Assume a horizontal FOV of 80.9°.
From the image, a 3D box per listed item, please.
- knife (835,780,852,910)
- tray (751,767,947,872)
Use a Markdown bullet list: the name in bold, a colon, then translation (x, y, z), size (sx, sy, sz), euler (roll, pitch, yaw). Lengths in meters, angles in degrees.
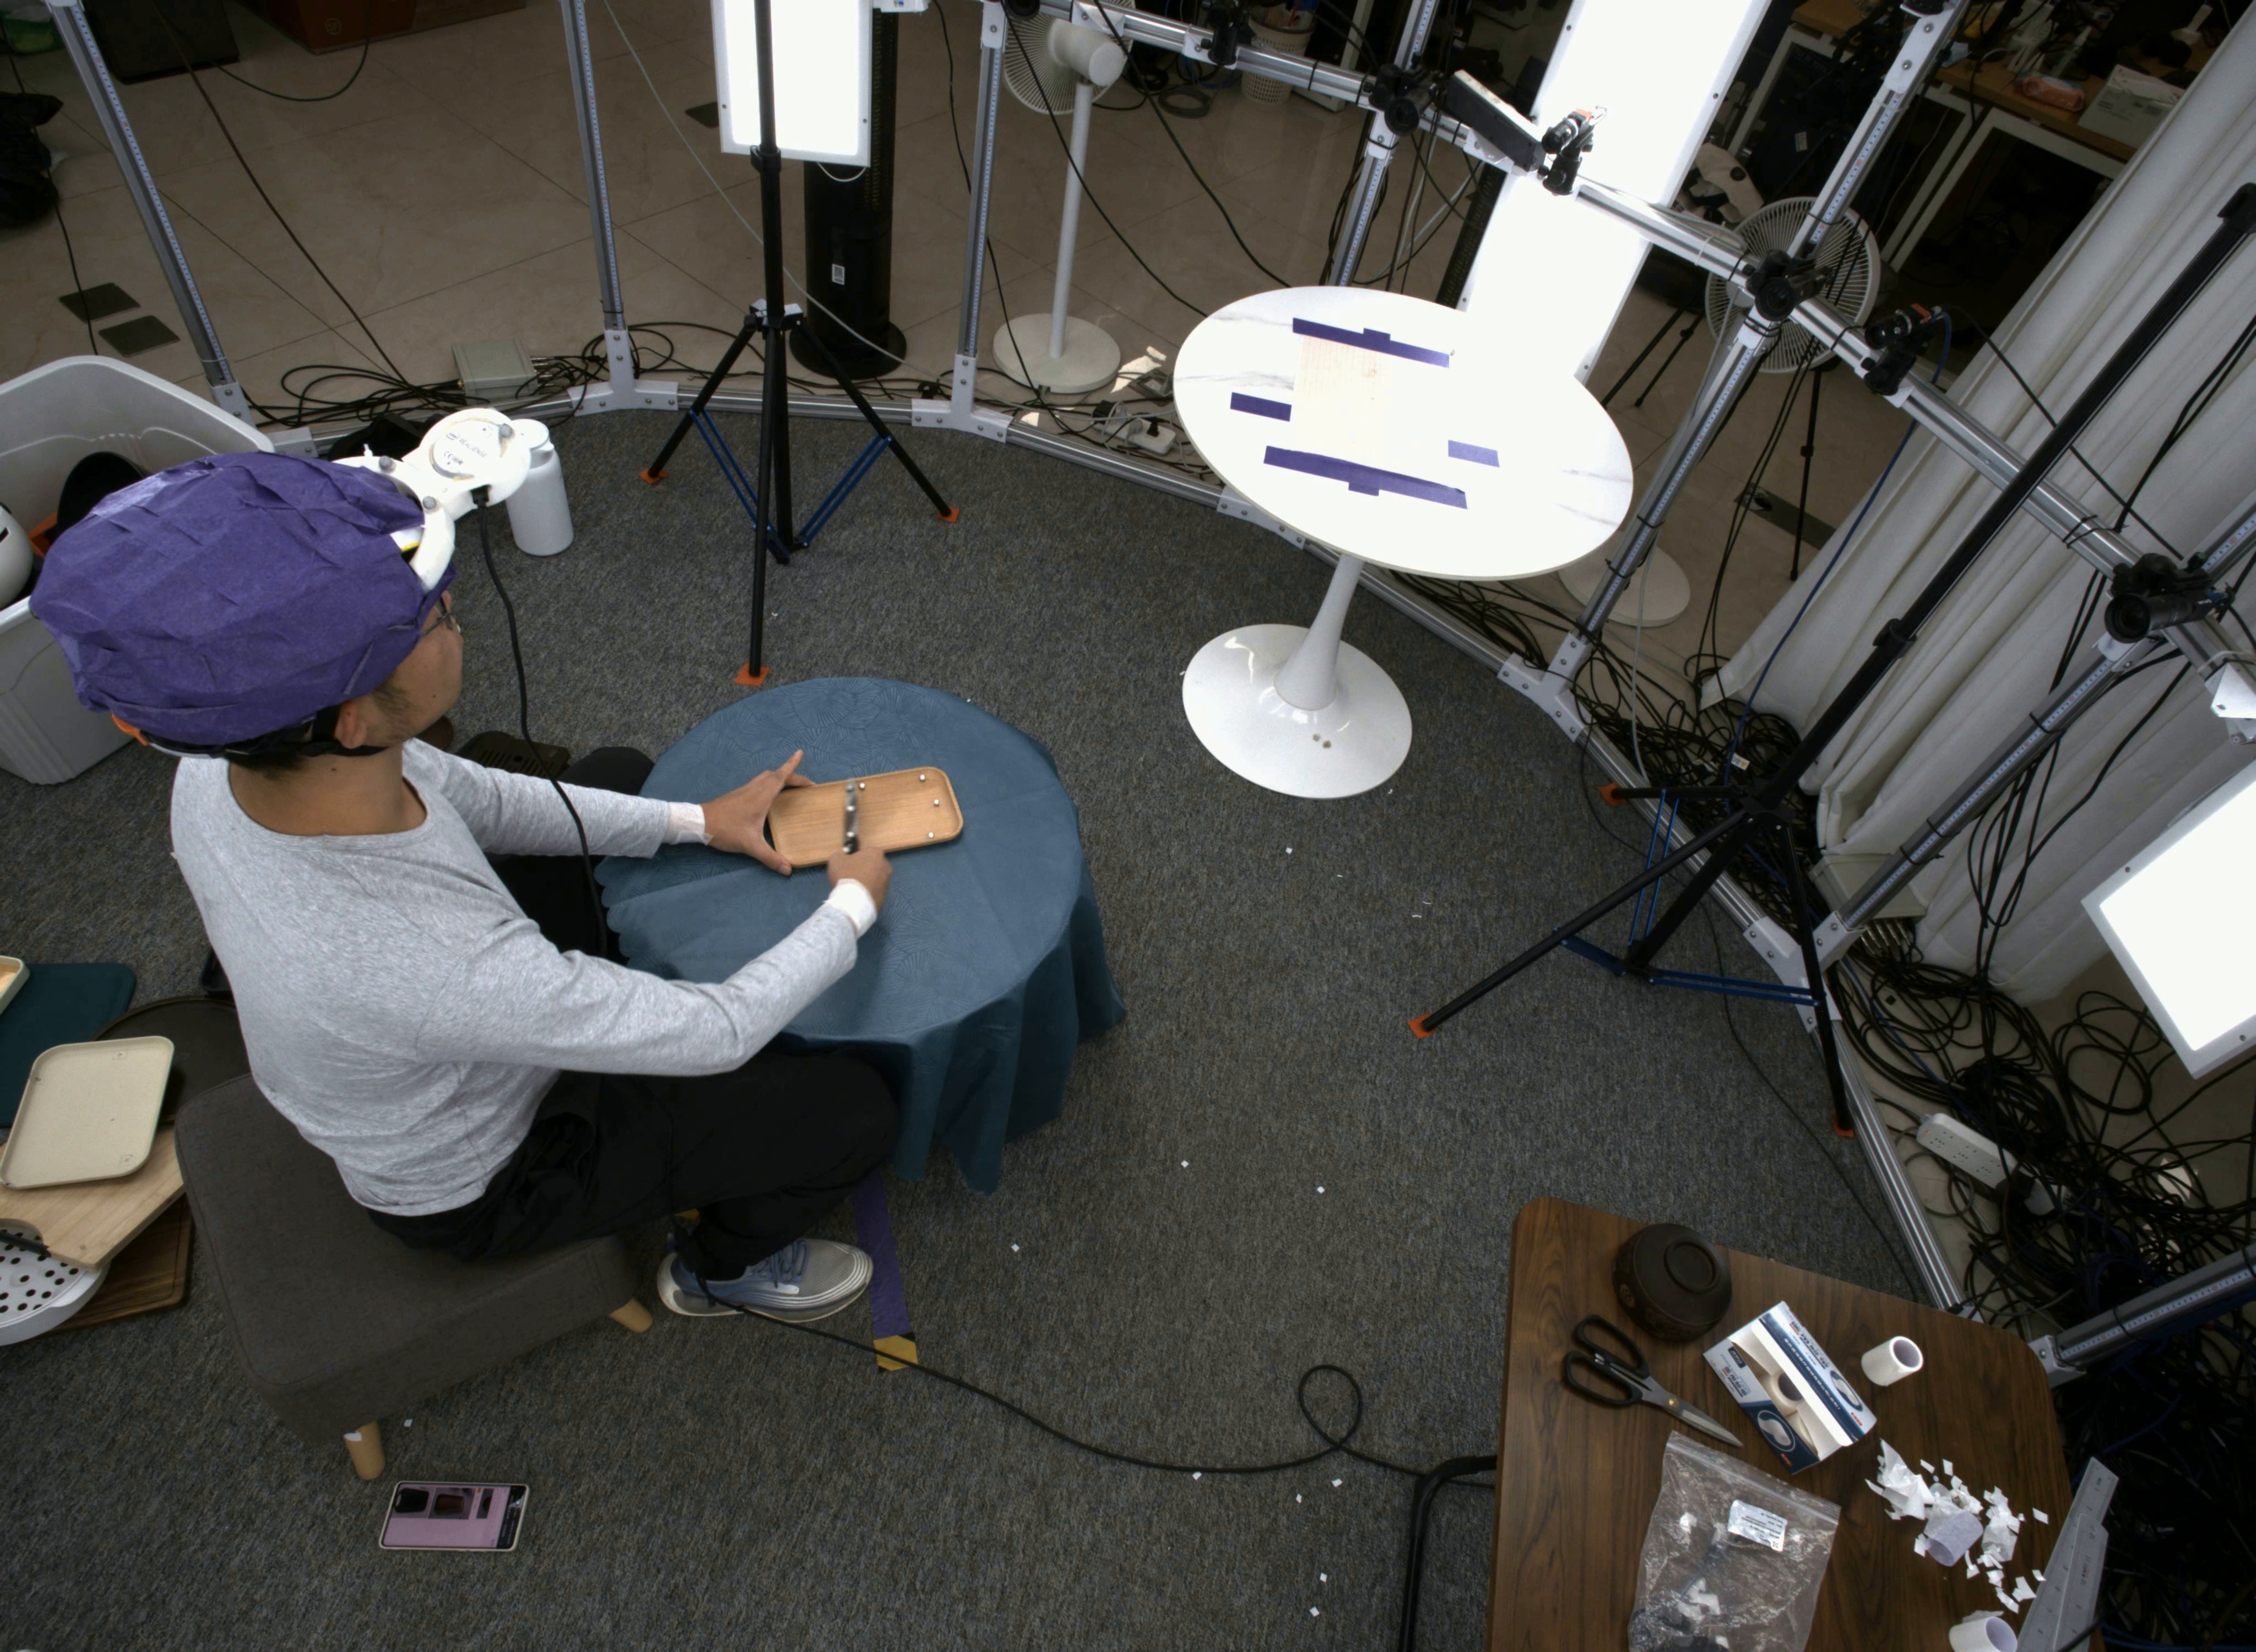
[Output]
- **knife**: translation (-0.370, 0.016, 1.683), size (0.024, 0.017, 0.232), euler (-28, 44, 14)
- **tray**: translation (-0.374, -0.011, 1.746), size (0.251, 0.023, 0.127), euler (-11, 55, -21)
